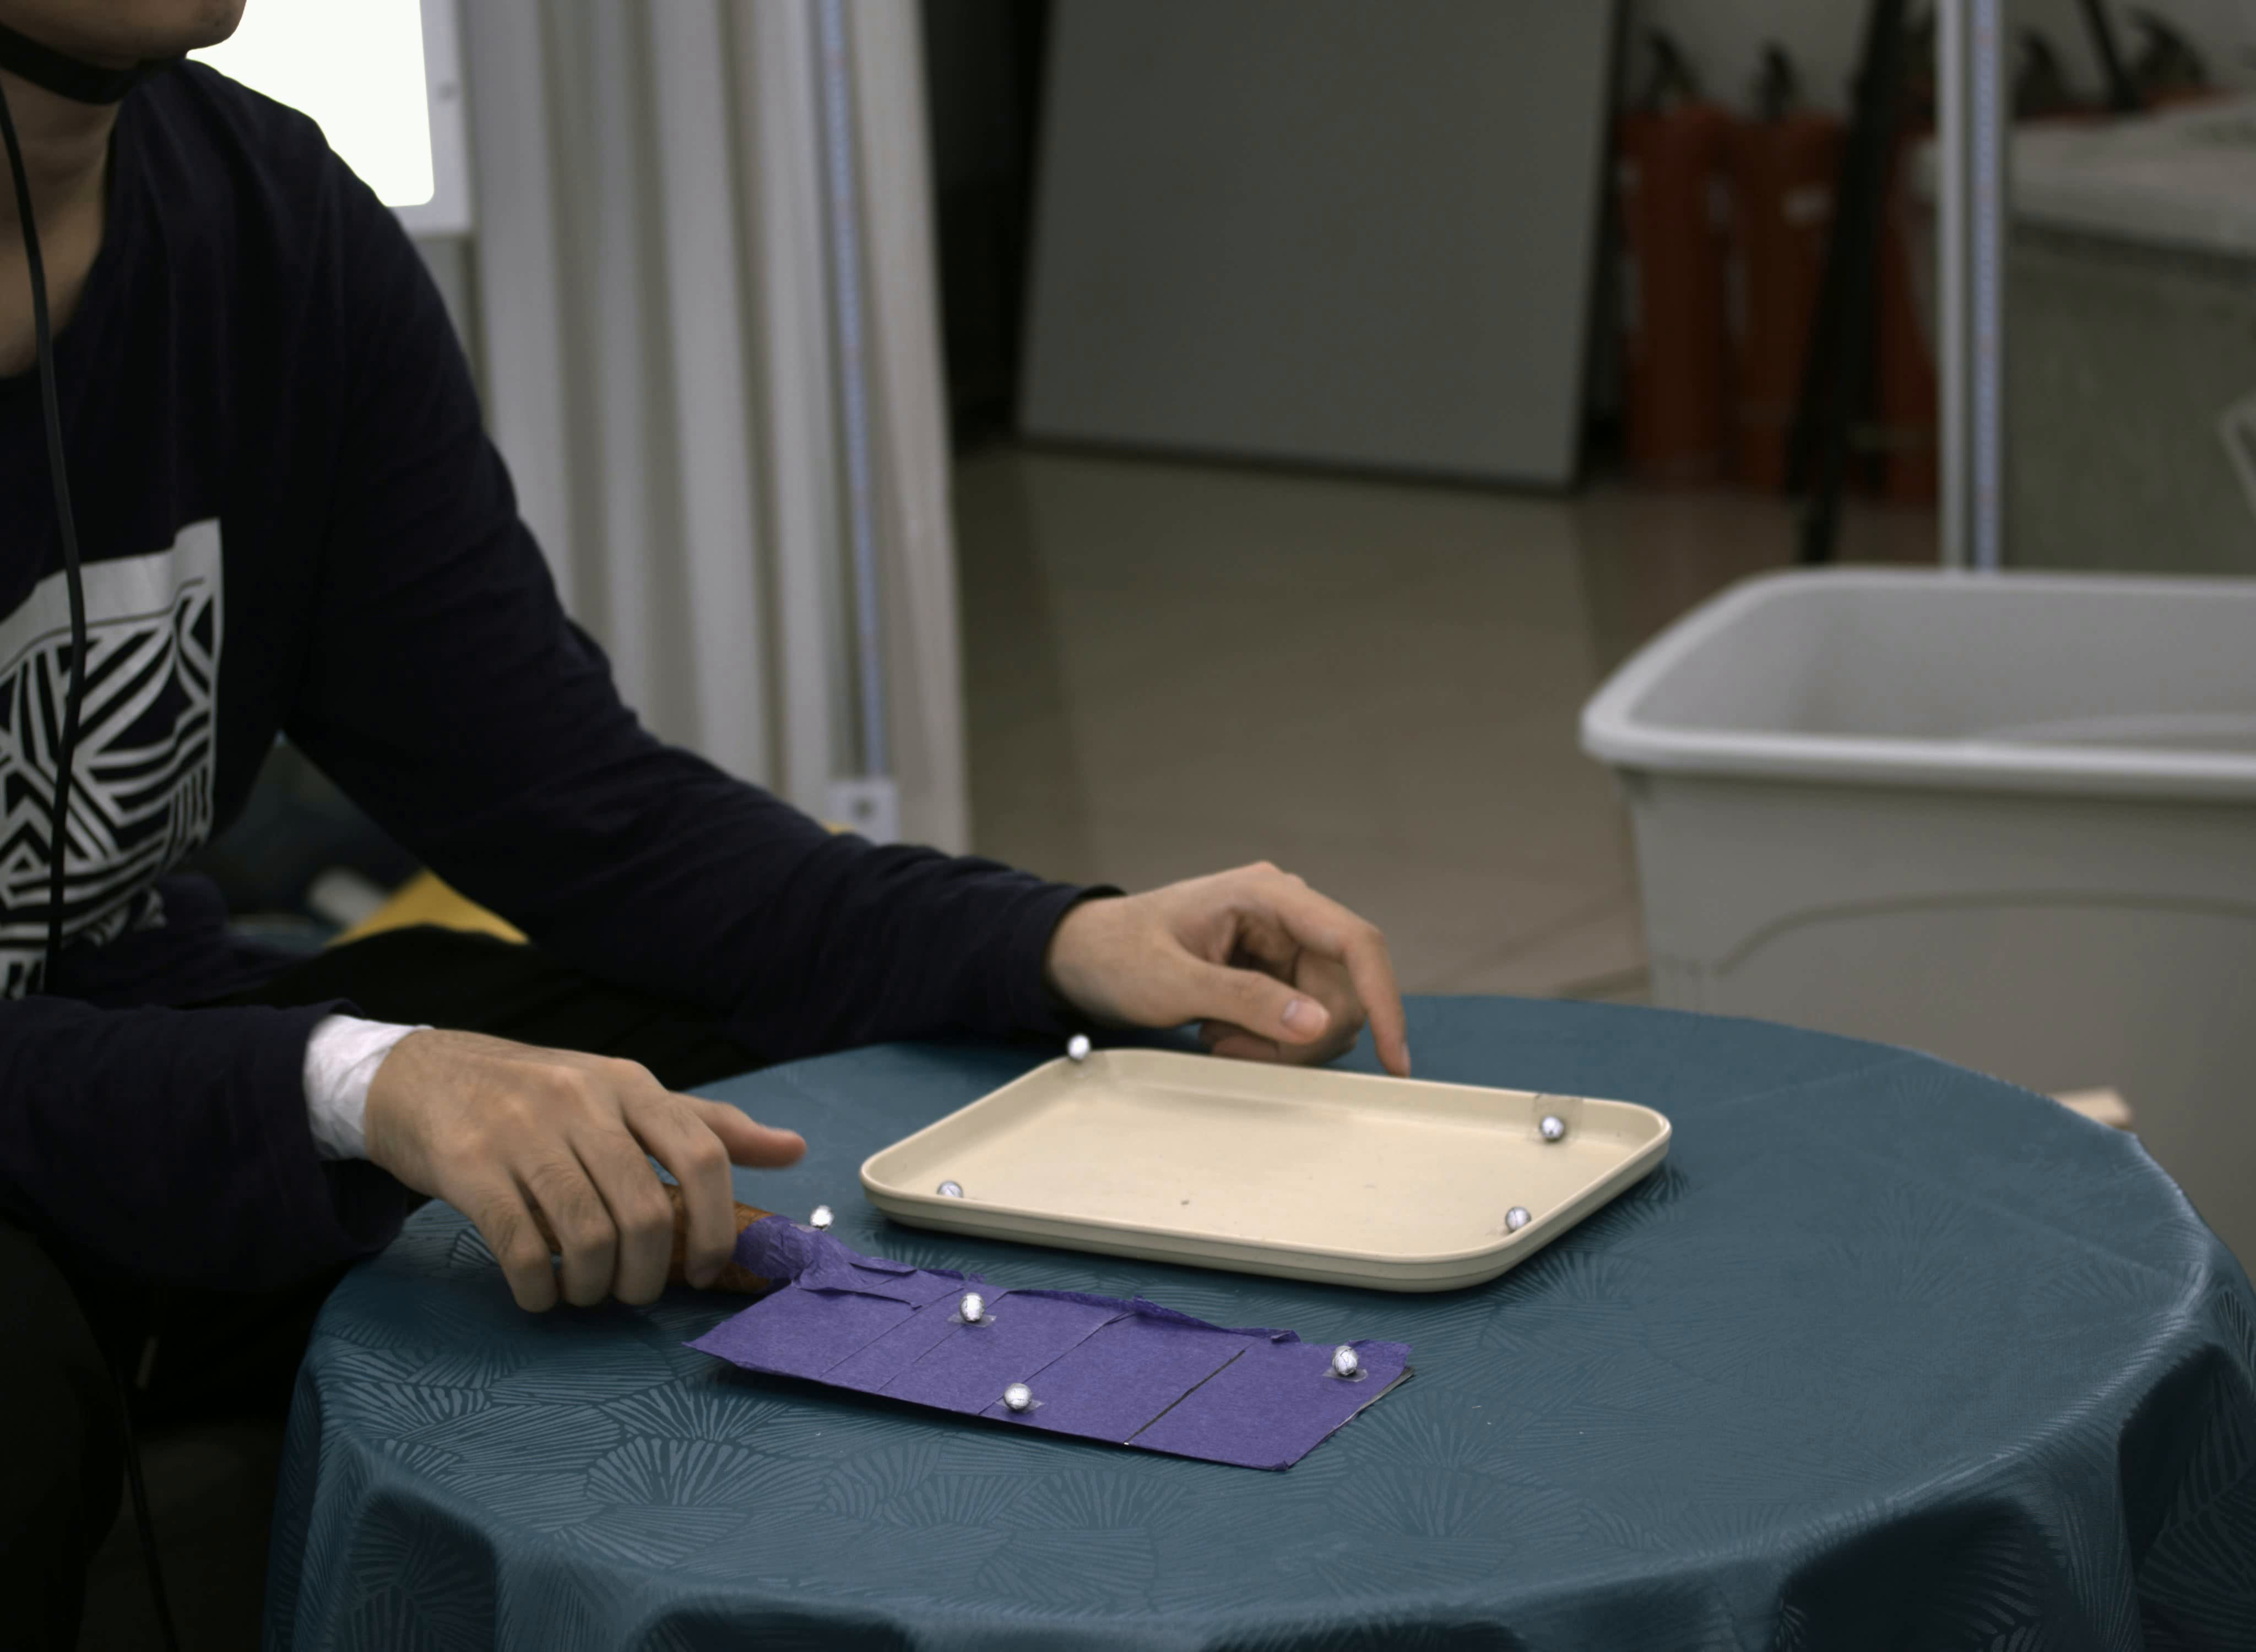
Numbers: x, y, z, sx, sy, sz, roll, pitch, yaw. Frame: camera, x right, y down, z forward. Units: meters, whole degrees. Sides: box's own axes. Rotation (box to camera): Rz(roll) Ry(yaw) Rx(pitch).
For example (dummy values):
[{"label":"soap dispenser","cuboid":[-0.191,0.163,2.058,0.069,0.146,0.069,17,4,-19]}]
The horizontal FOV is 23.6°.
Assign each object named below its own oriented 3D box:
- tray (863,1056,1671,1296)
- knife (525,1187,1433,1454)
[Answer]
[{"label":"tray","cuboid":[0.046,0.113,1.757,0.241,0.017,0.168,4,16,32]},{"label":"knife","cuboid":[-0.066,0.148,1.627,0.316,0.032,0.102,5,16,31]}]
